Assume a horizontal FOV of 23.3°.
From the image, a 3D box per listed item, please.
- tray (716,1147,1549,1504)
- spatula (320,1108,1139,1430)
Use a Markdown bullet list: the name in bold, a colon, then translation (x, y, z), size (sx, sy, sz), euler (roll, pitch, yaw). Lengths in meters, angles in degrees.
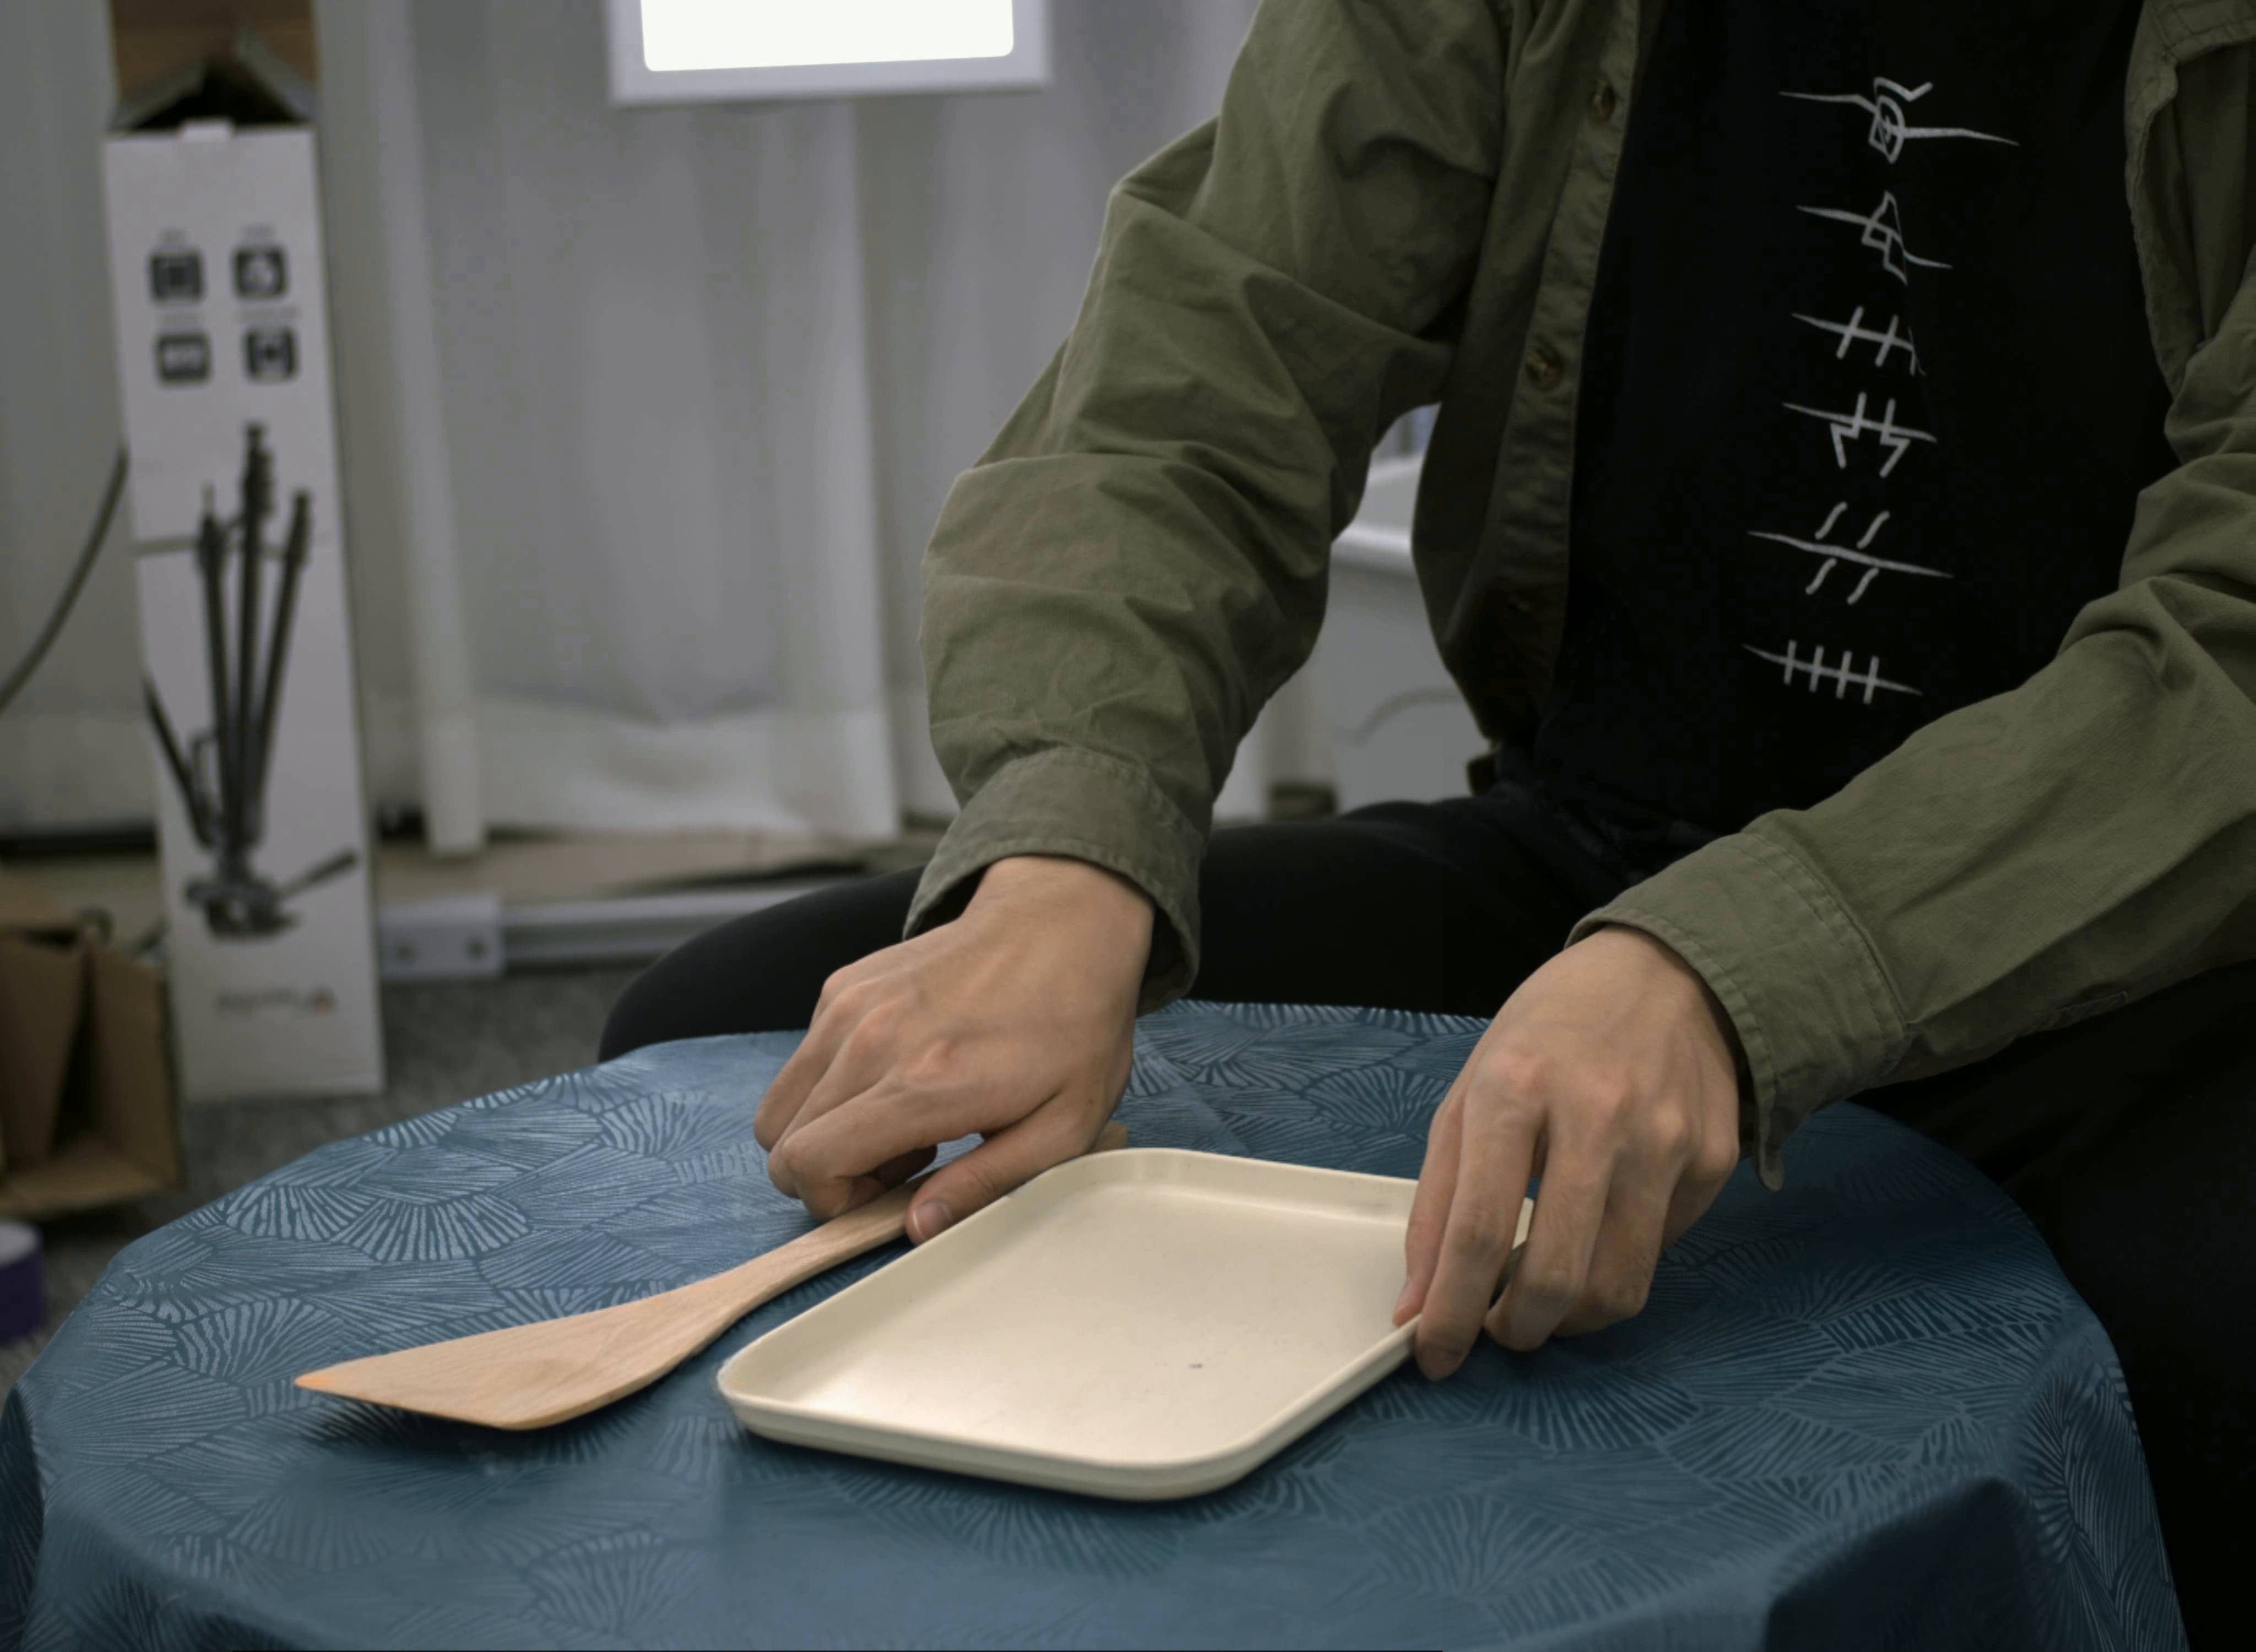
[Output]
- **tray**: translation (0.005, 0.143, 1.578), size (0.172, 0.017, 0.240), euler (6, 17, 30)
- **spatula**: translation (-0.101, 0.130, 1.649), size (0.080, 0.016, 0.327), euler (9, 20, 37)
